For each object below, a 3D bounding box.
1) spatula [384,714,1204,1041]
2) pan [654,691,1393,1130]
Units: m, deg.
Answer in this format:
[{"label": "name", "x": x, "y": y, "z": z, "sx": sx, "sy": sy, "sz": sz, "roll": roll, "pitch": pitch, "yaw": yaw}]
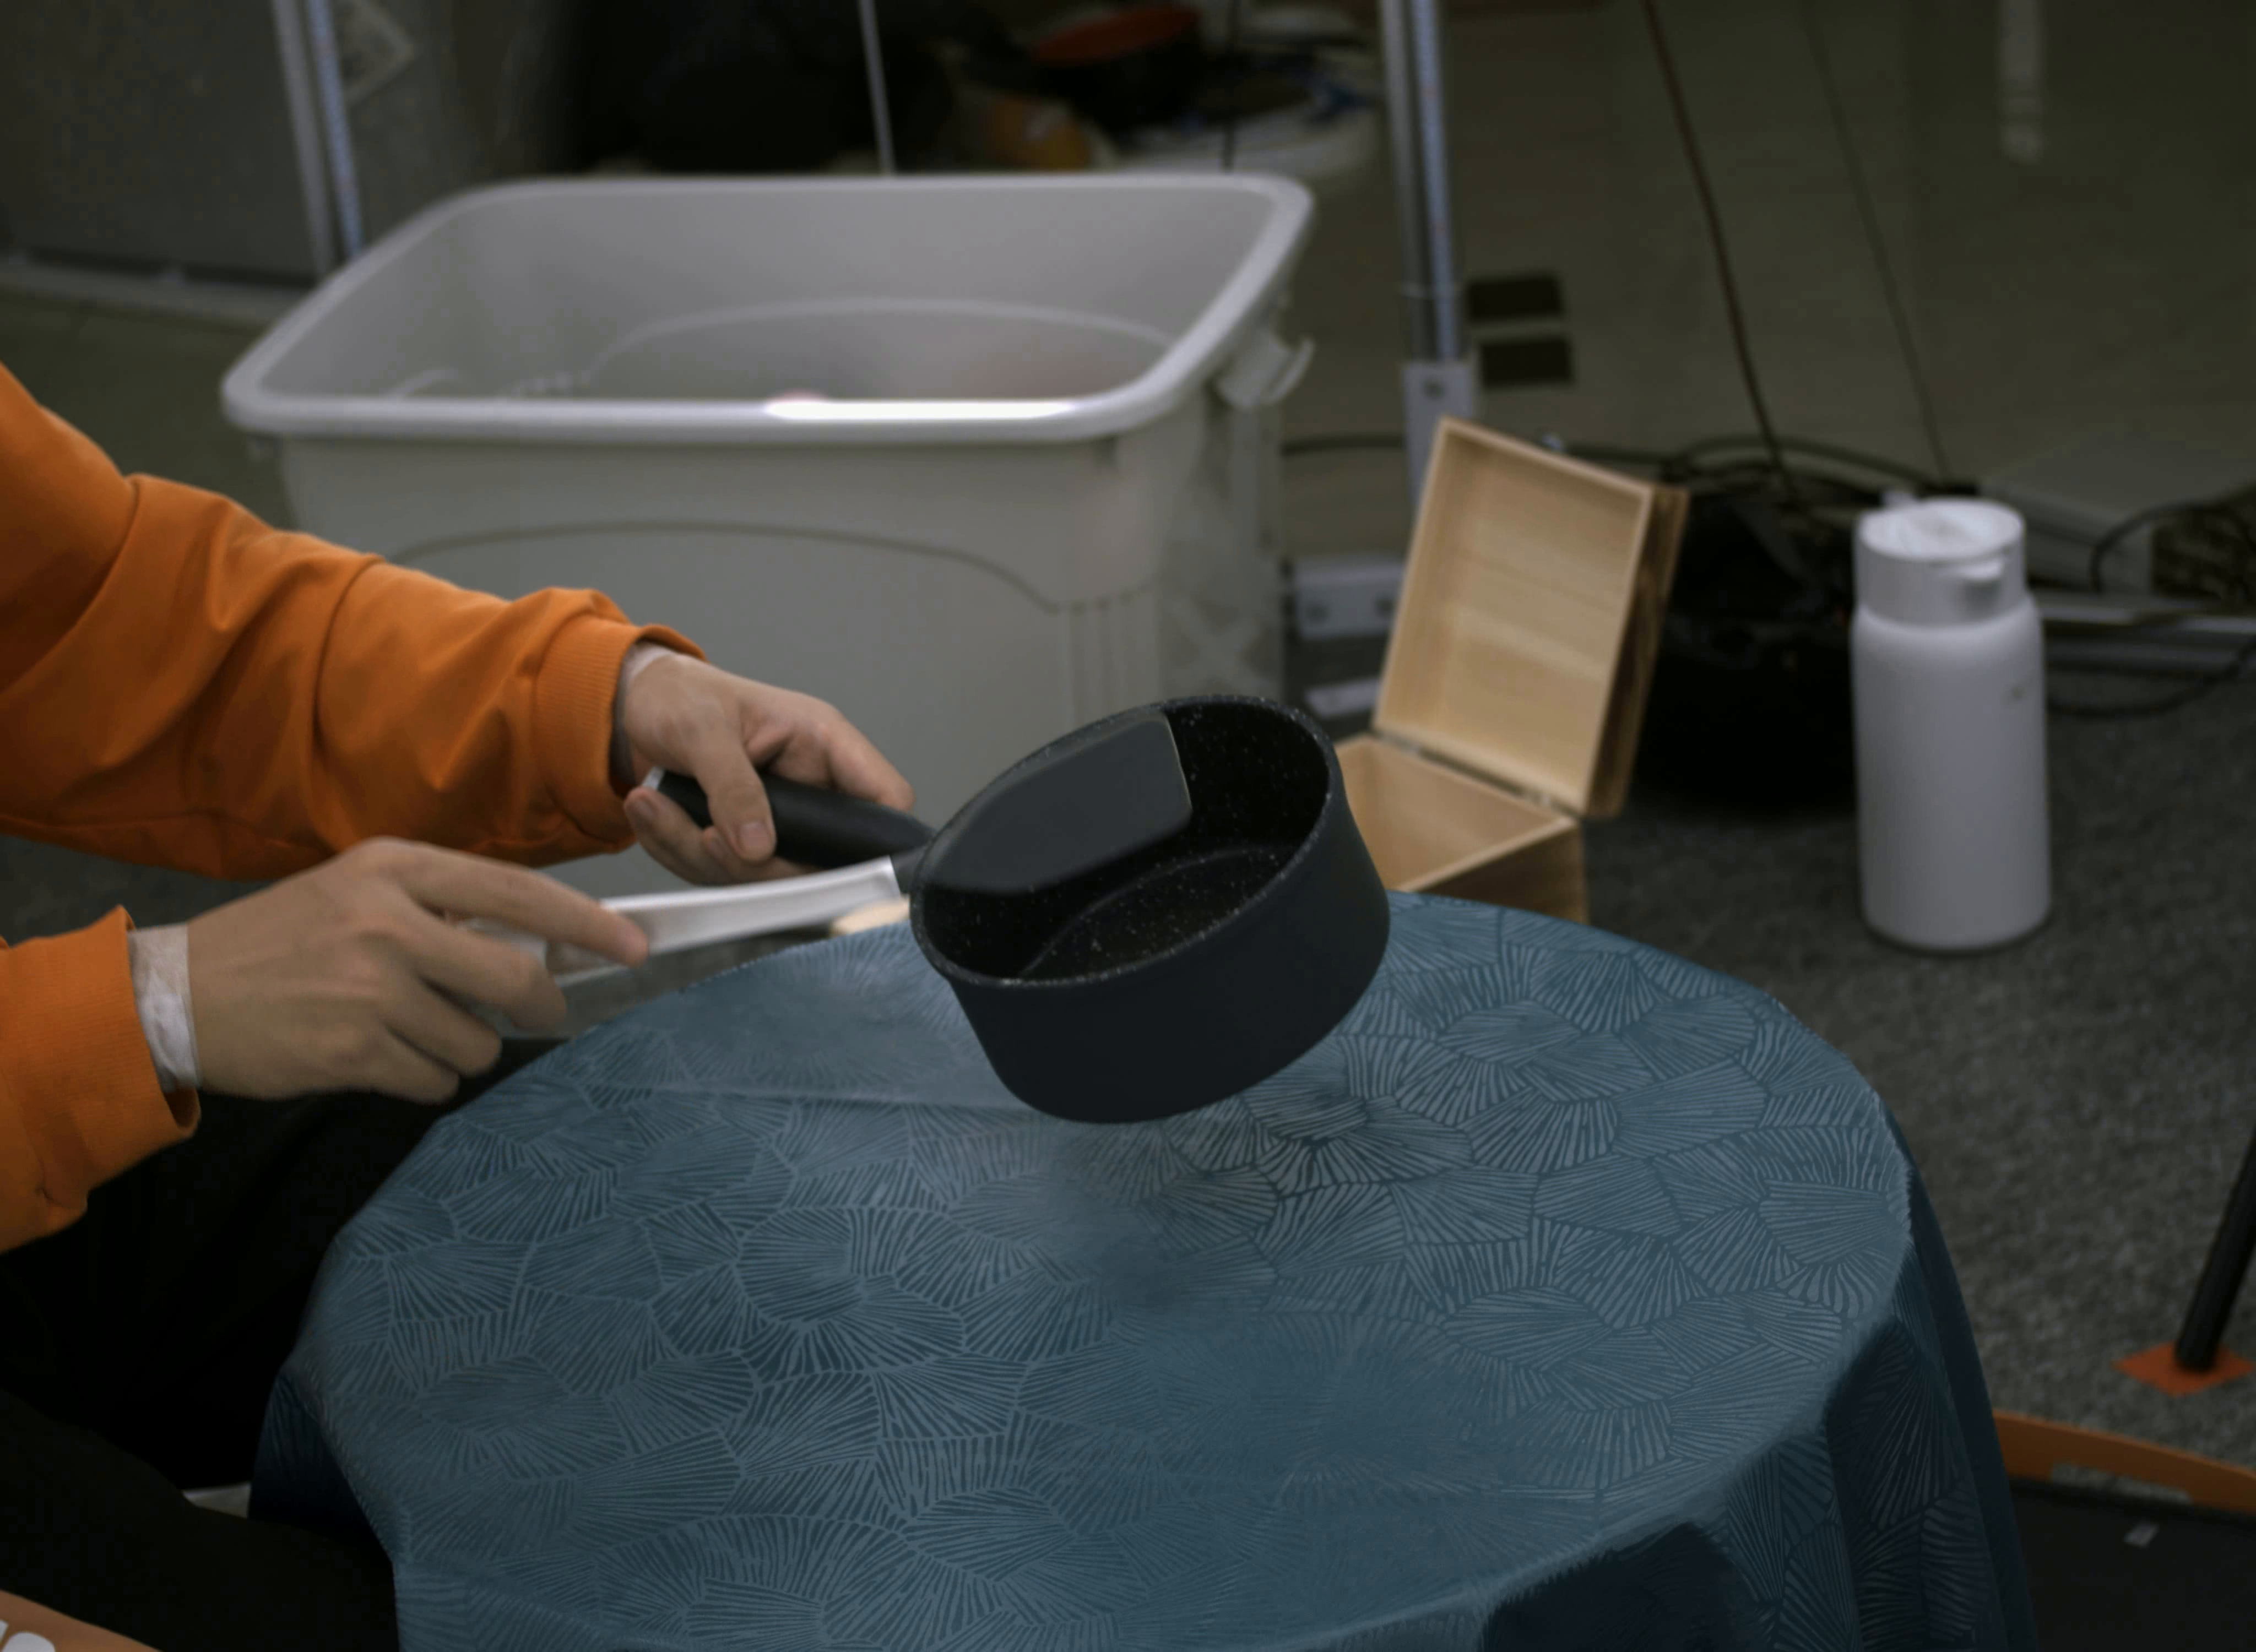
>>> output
[{"label": "spatula", "x": -0.114, "y": 0.023, "z": 1.951, "sx": 0.287, "sy": 0.060, "sz": 0.031, "roll": -15, "pitch": 36, "yaw": 1}, {"label": "pan", "x": -0.049, "y": 0.023, "z": 2.172, "sx": 0.327, "sy": 0.088, "sz": 0.170, "roll": 10, "pitch": 47, "yaw": 40}]
